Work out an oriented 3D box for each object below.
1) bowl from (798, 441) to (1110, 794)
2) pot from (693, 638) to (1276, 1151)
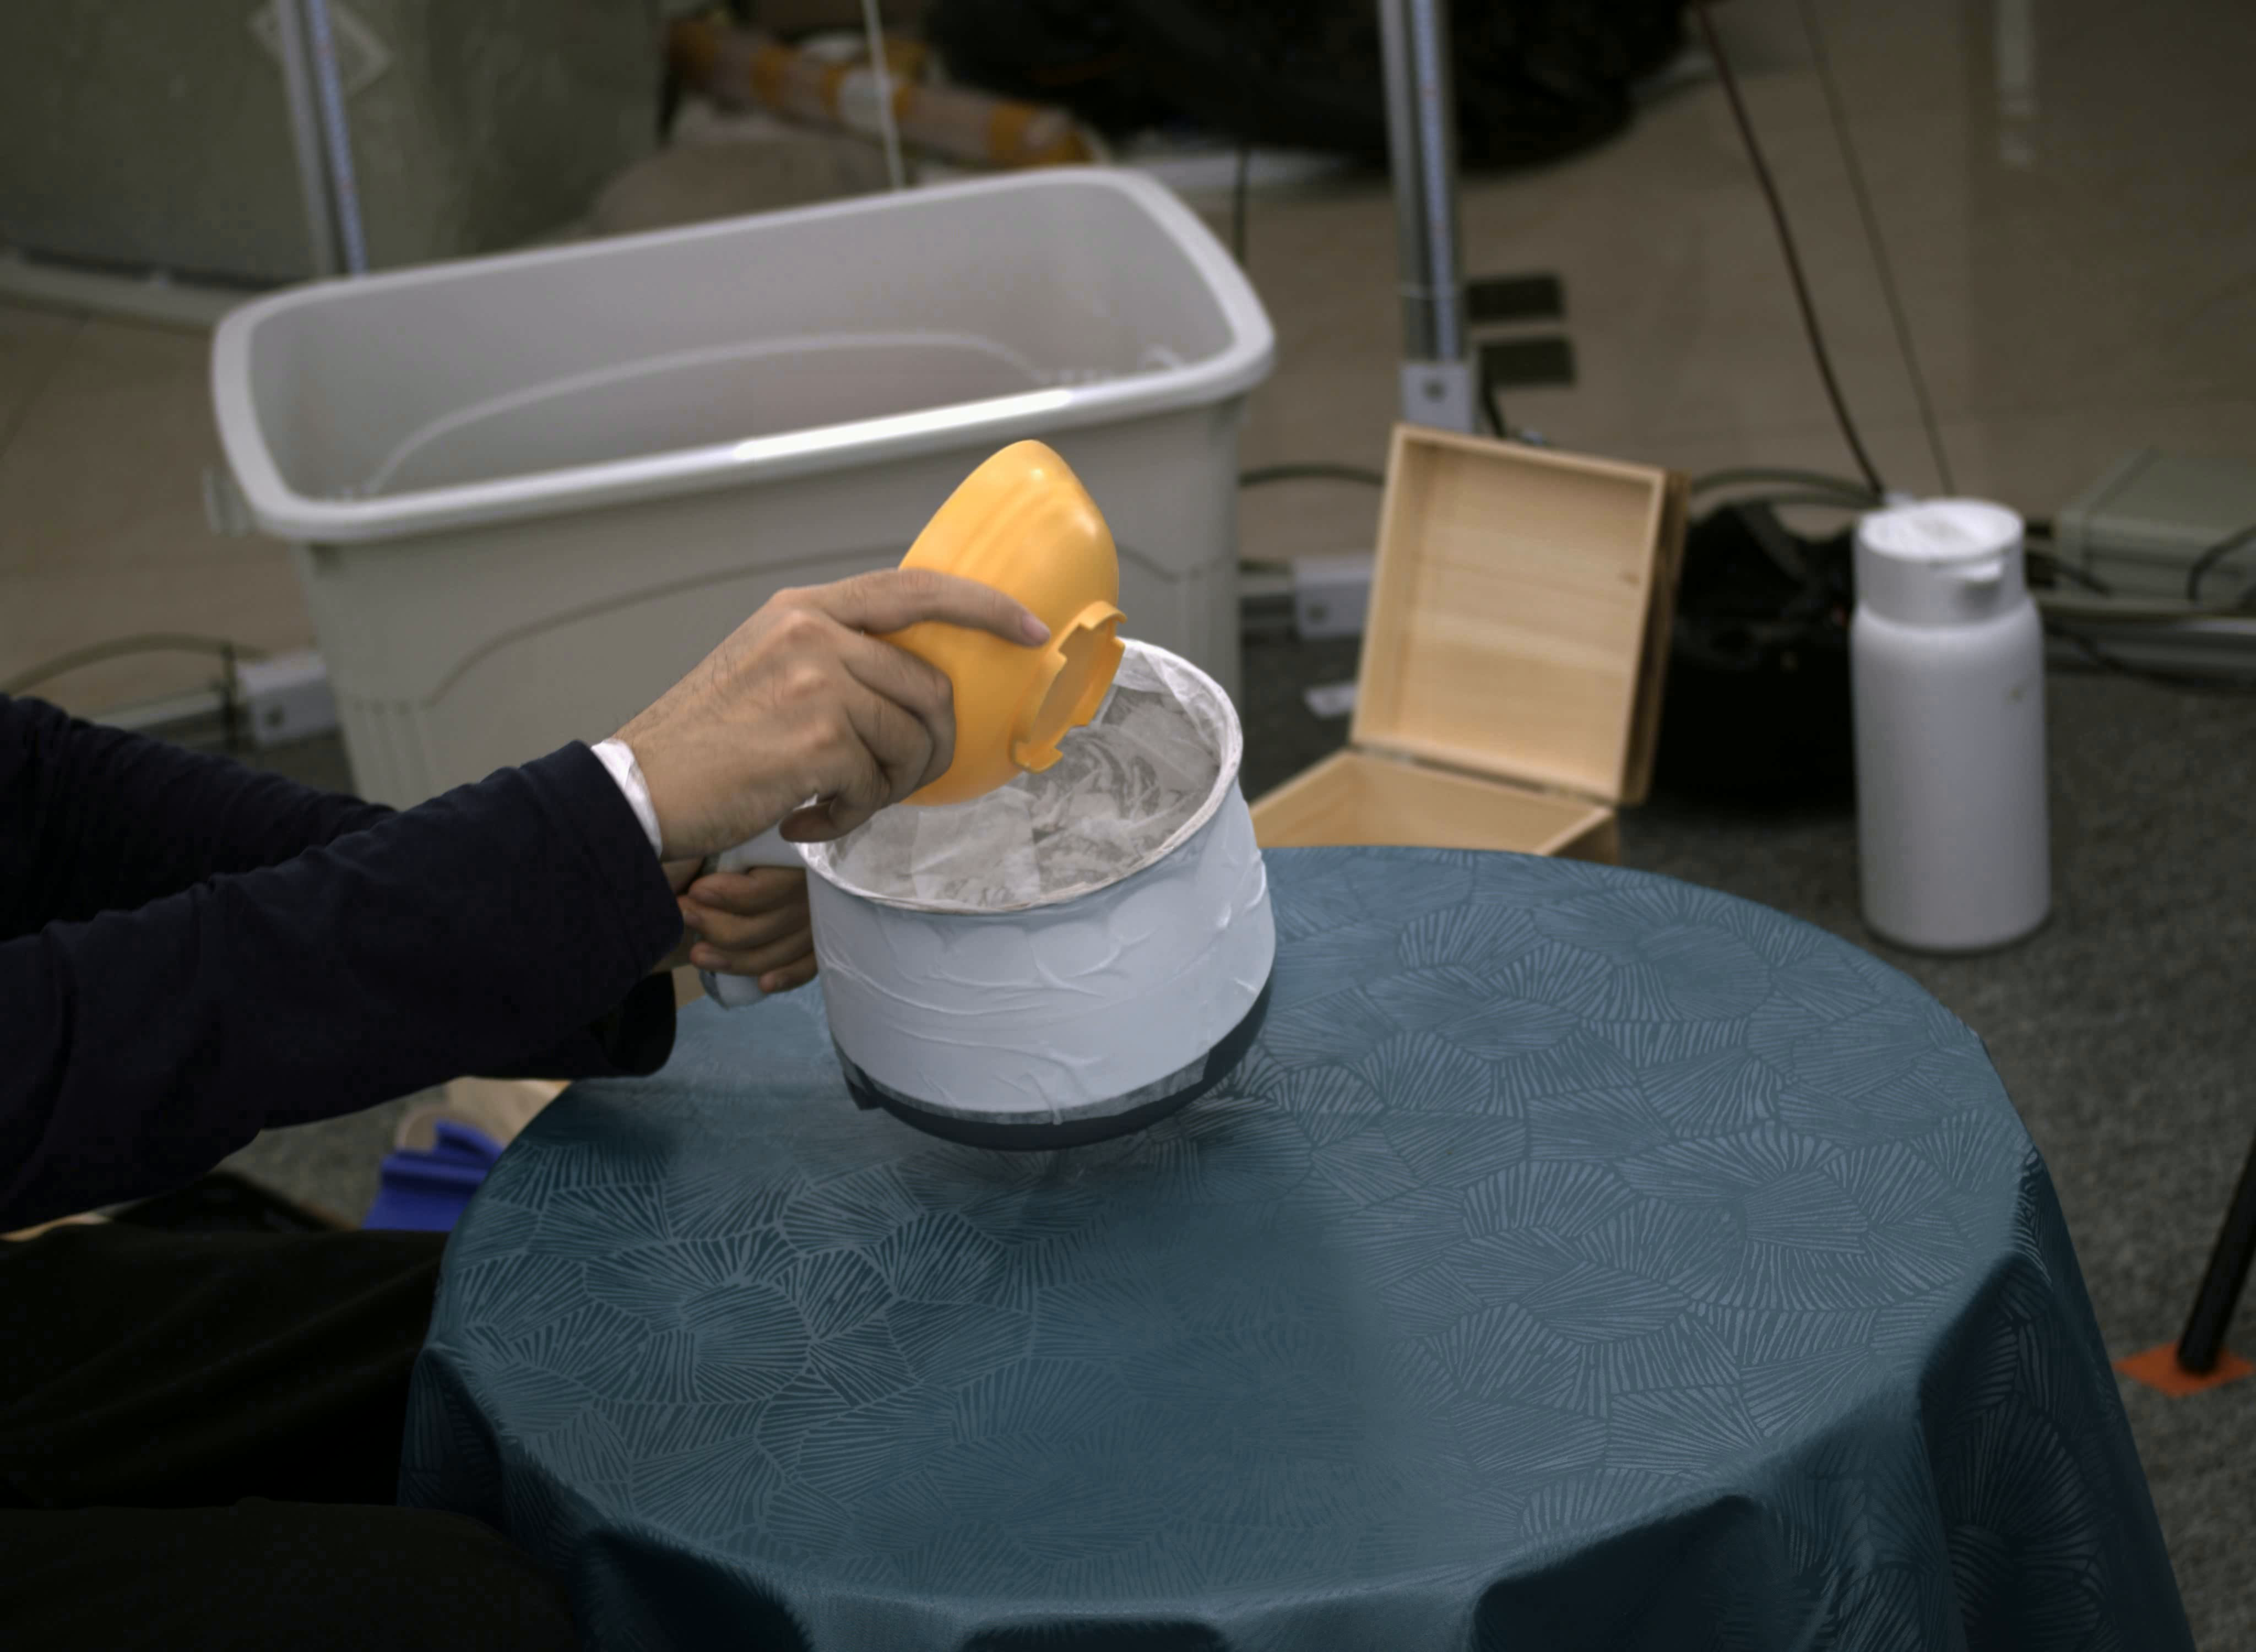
[{"bbox_3d":[-0.050,-0.063,2.022,0.060,0.148,0.143,37,40,14],"label":"bowl"},{"bbox_3d":[-0.061,0.028,2.181,0.233,0.139,0.176,2,36,16],"label":"pot"}]
